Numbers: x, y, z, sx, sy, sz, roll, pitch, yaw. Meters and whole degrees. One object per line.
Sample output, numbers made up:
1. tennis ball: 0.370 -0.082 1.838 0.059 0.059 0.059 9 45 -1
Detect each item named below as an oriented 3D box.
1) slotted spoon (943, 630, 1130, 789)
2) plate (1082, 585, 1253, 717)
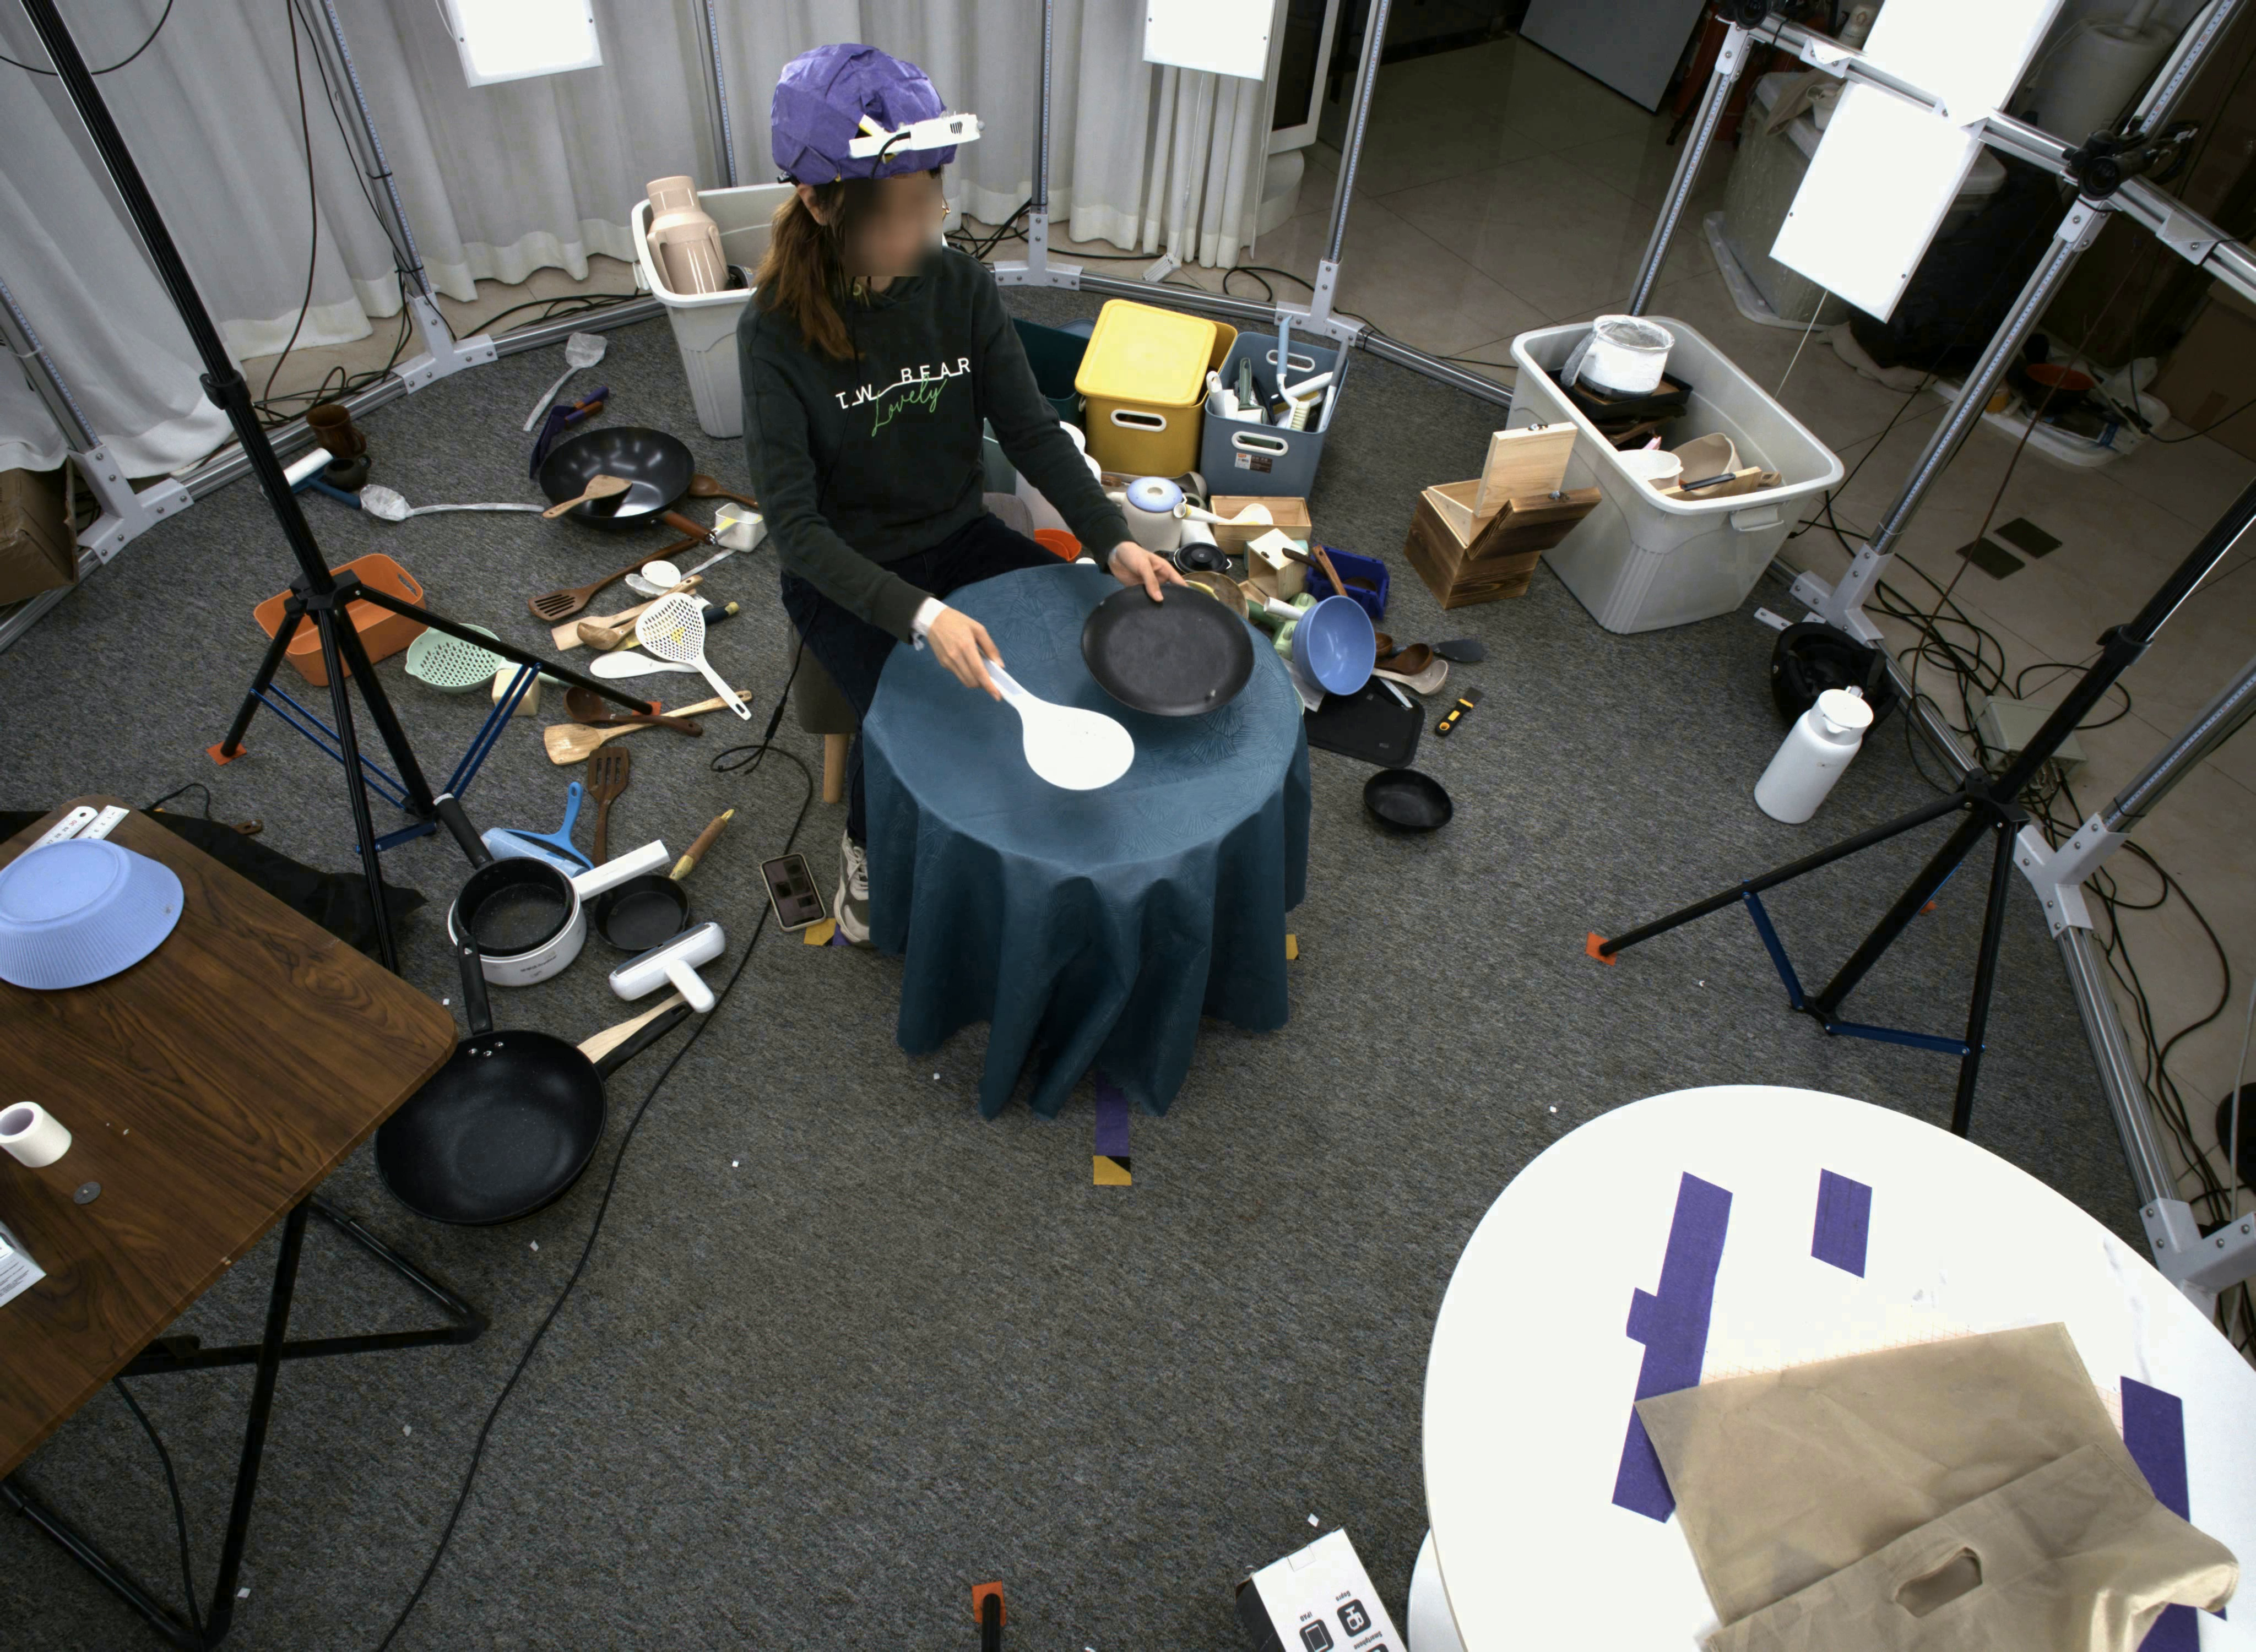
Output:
1. slotted spoon: -0.135 -0.160 1.692 0.137 0.044 0.355 -30 60 -26
2. plate: 0.055 -0.245 1.807 0.244 0.023 0.250 3 54 -5
